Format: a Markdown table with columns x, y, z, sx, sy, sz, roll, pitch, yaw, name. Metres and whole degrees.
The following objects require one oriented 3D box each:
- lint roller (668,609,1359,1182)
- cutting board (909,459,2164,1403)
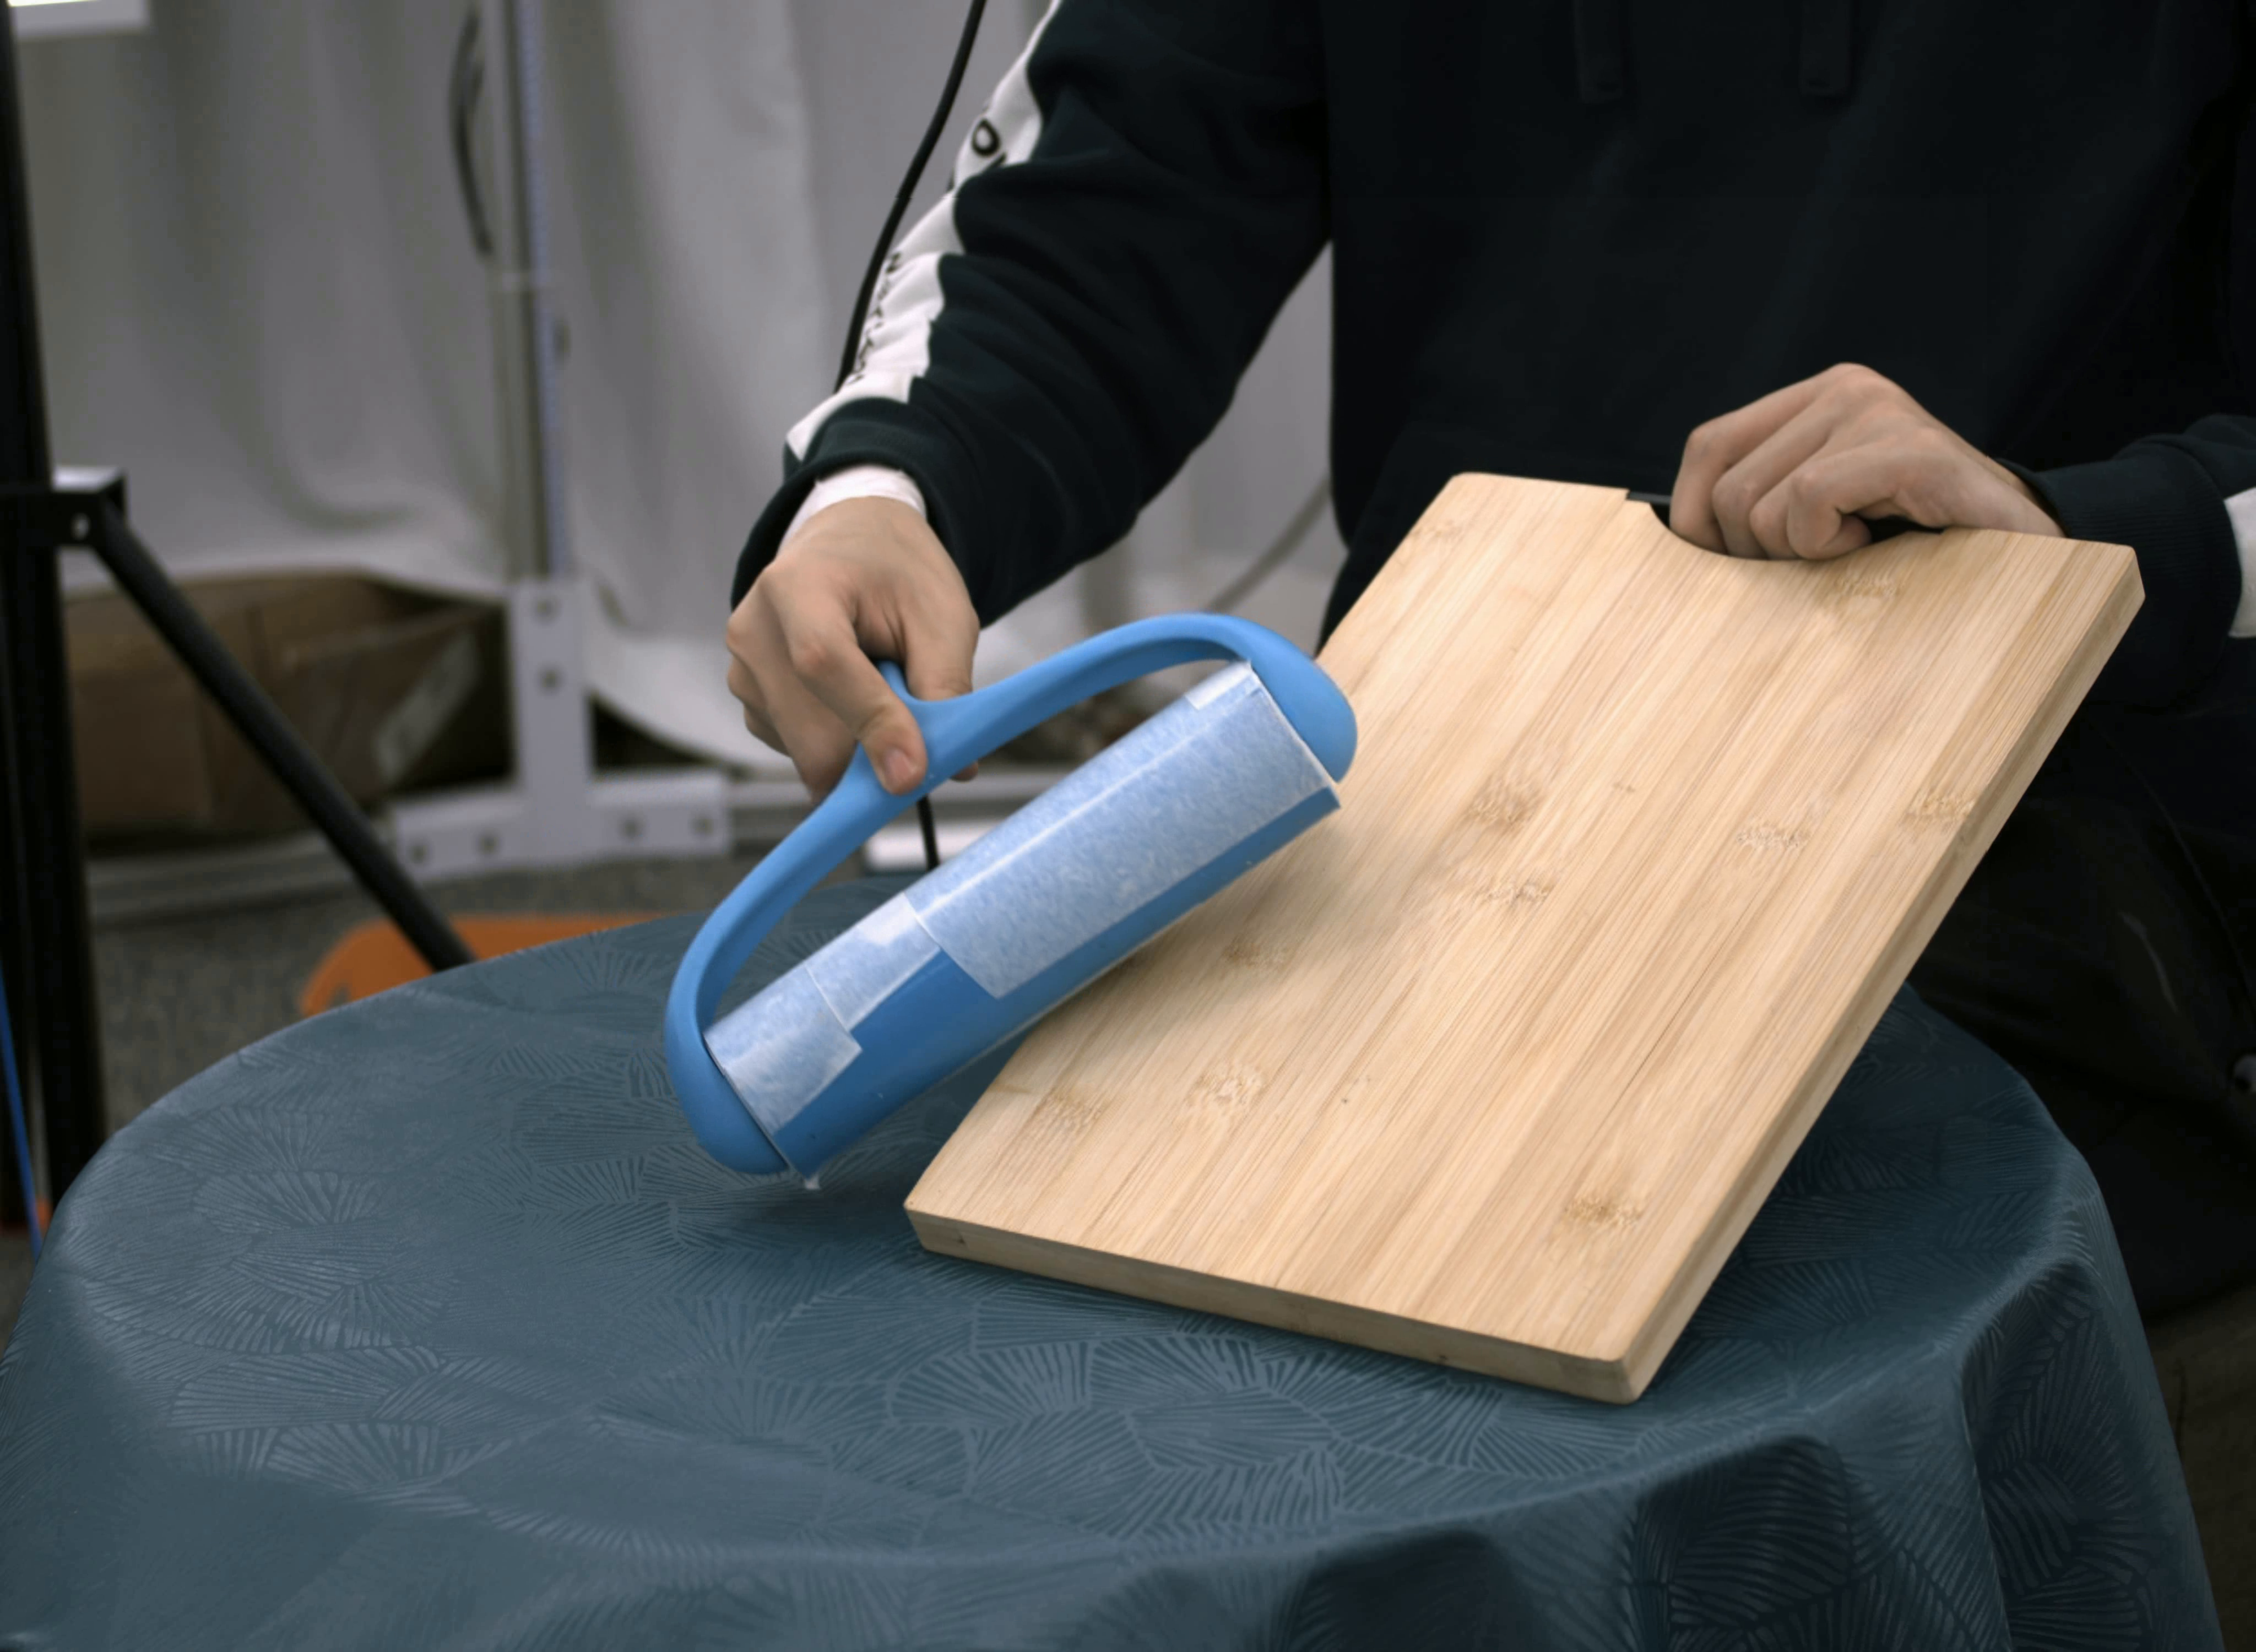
| x | y | z | sx | sy | sz | roll | pitch | yaw | name |
| --- | --- | --- | --- | --- | --- | --- | --- | --- | --- |
| -0.057 | -0.007 | 1.590 | 0.228 | 0.066 | 0.184 | -38 | 44 | 0 | lint roller |
| 0.121 | 0.018 | 1.540 | 0.256 | 0.023 | 0.346 | 8 | 47 | 36 | cutting board |
